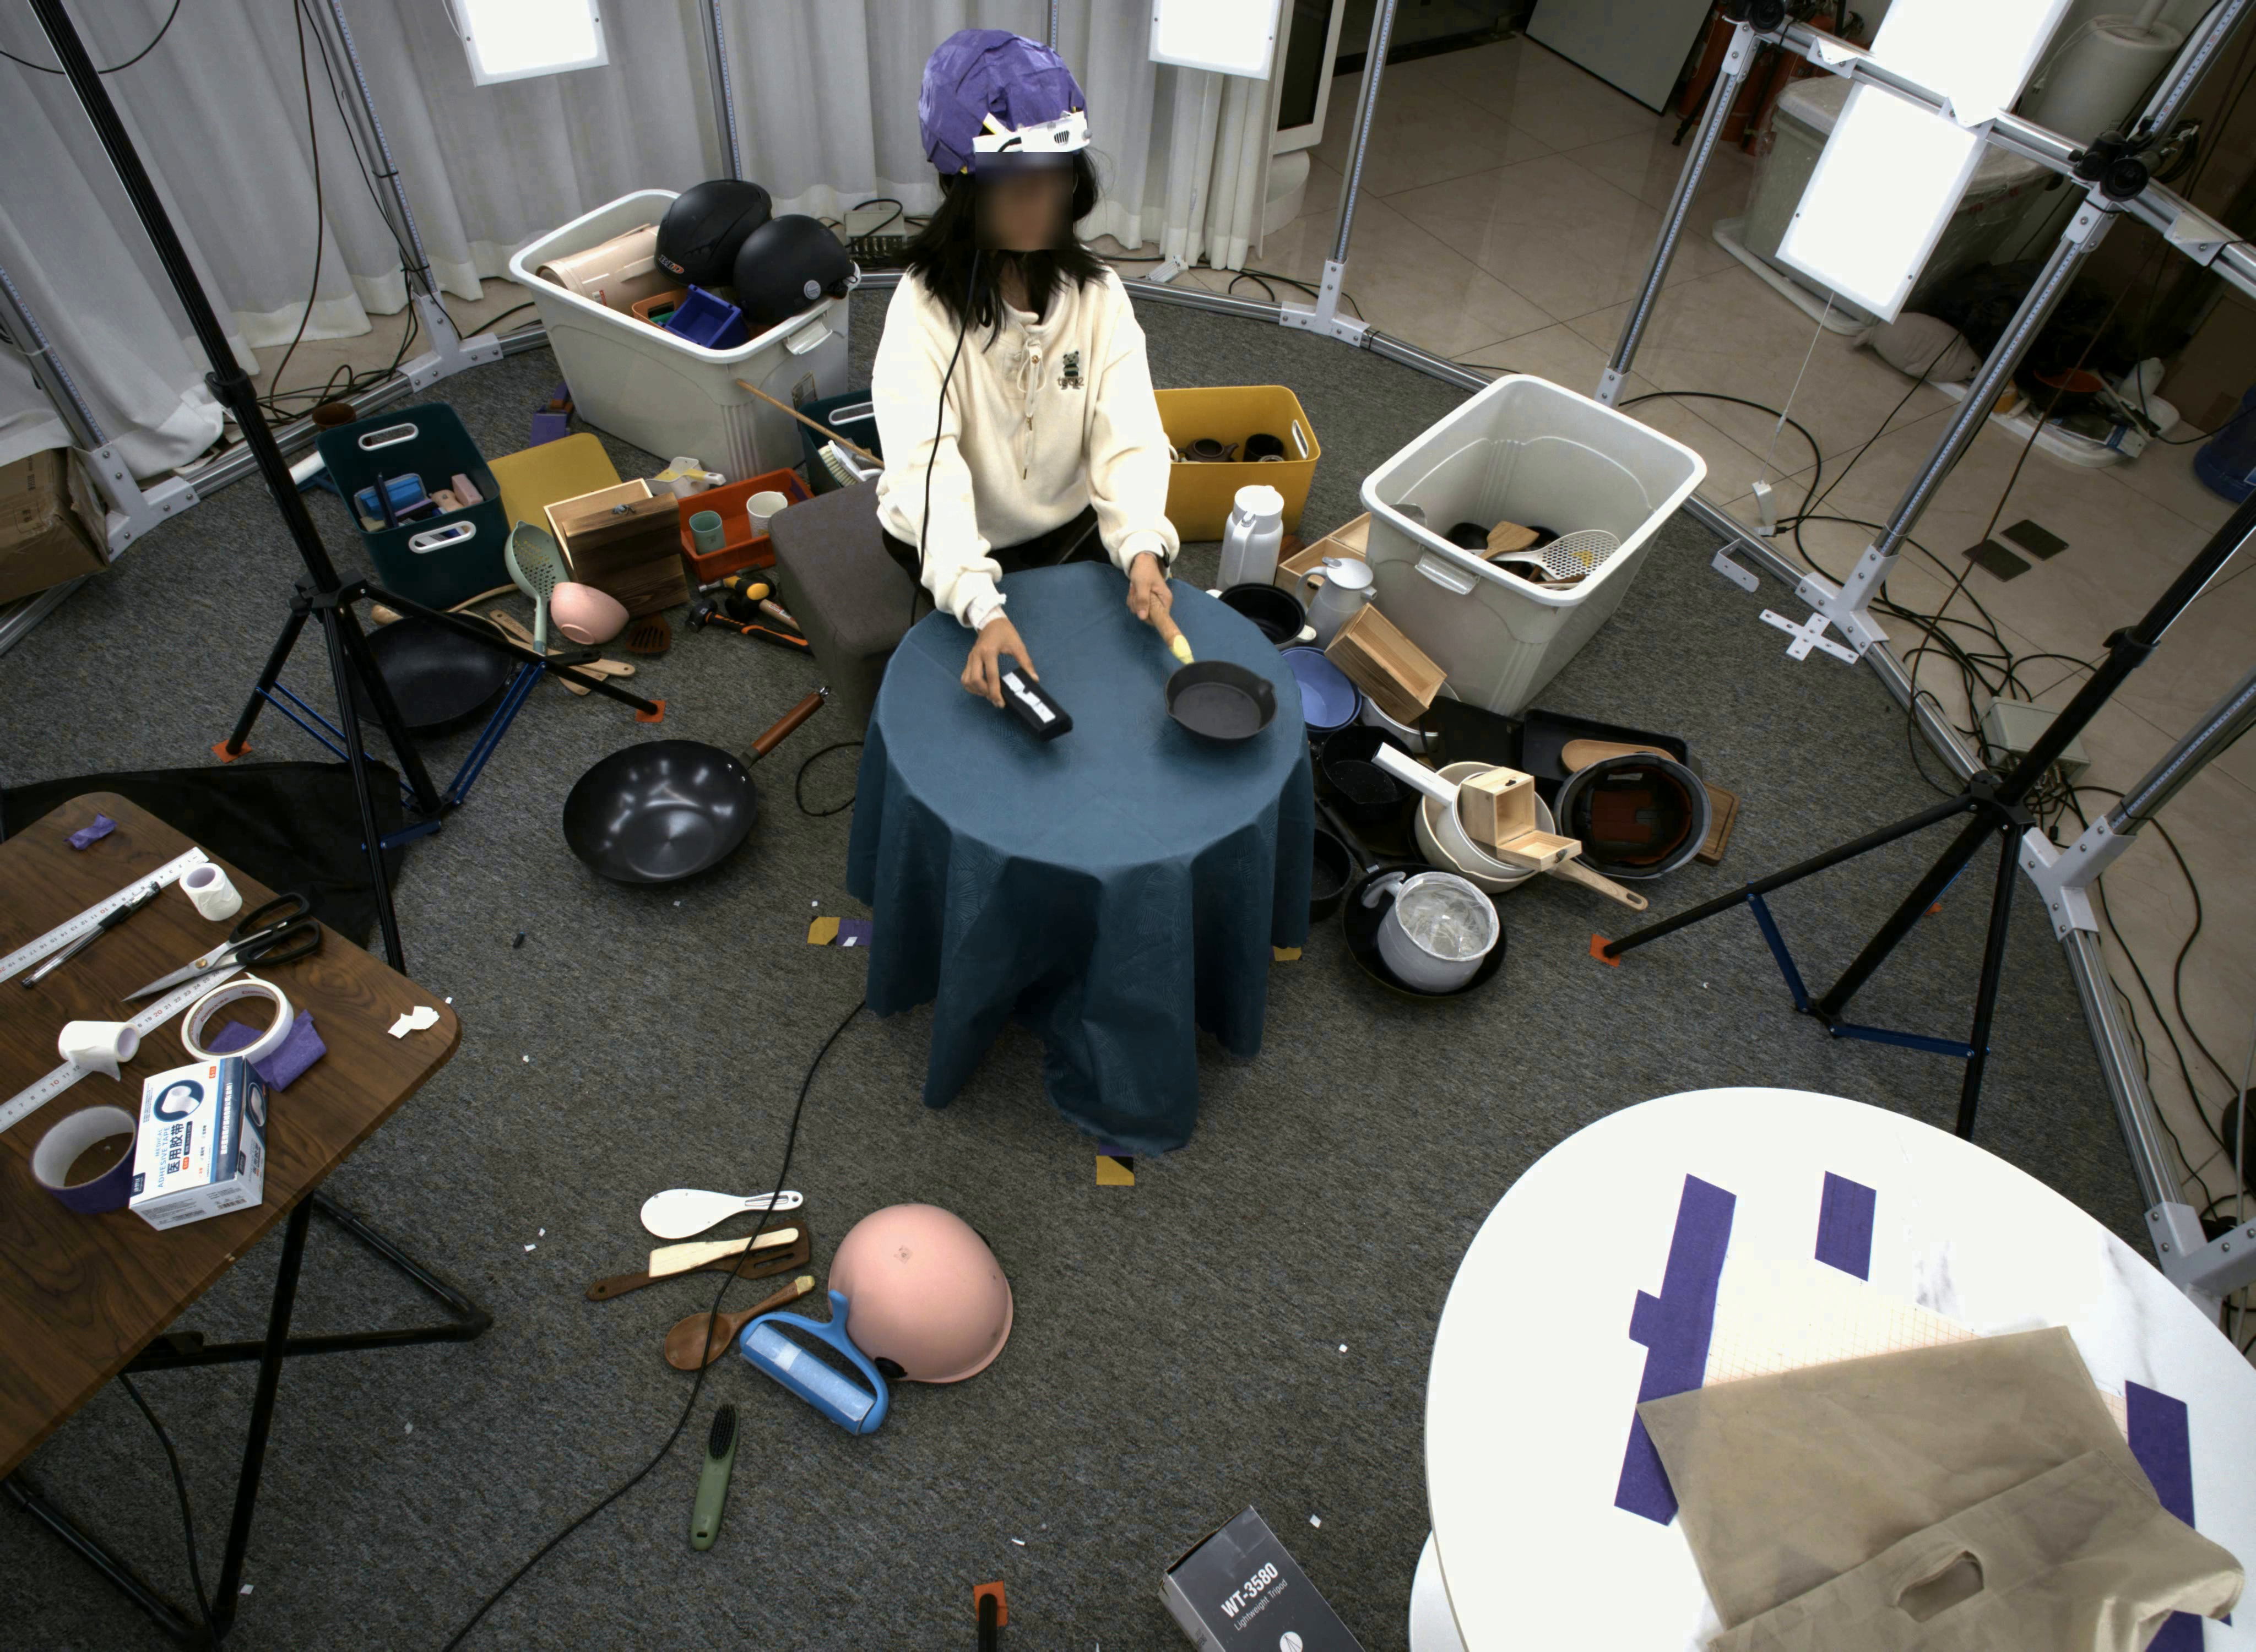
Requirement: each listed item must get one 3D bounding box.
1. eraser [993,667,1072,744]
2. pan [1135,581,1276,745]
[{"bbox_3d":[-0.130,-0.166,1.750,0.054,0.030,0.128,-30,53,-18],"label":"eraser"},{"bbox_3d":[0.089,-0.233,1.818,0.169,0.048,0.331,-16,52,-20],"label":"pan"}]
